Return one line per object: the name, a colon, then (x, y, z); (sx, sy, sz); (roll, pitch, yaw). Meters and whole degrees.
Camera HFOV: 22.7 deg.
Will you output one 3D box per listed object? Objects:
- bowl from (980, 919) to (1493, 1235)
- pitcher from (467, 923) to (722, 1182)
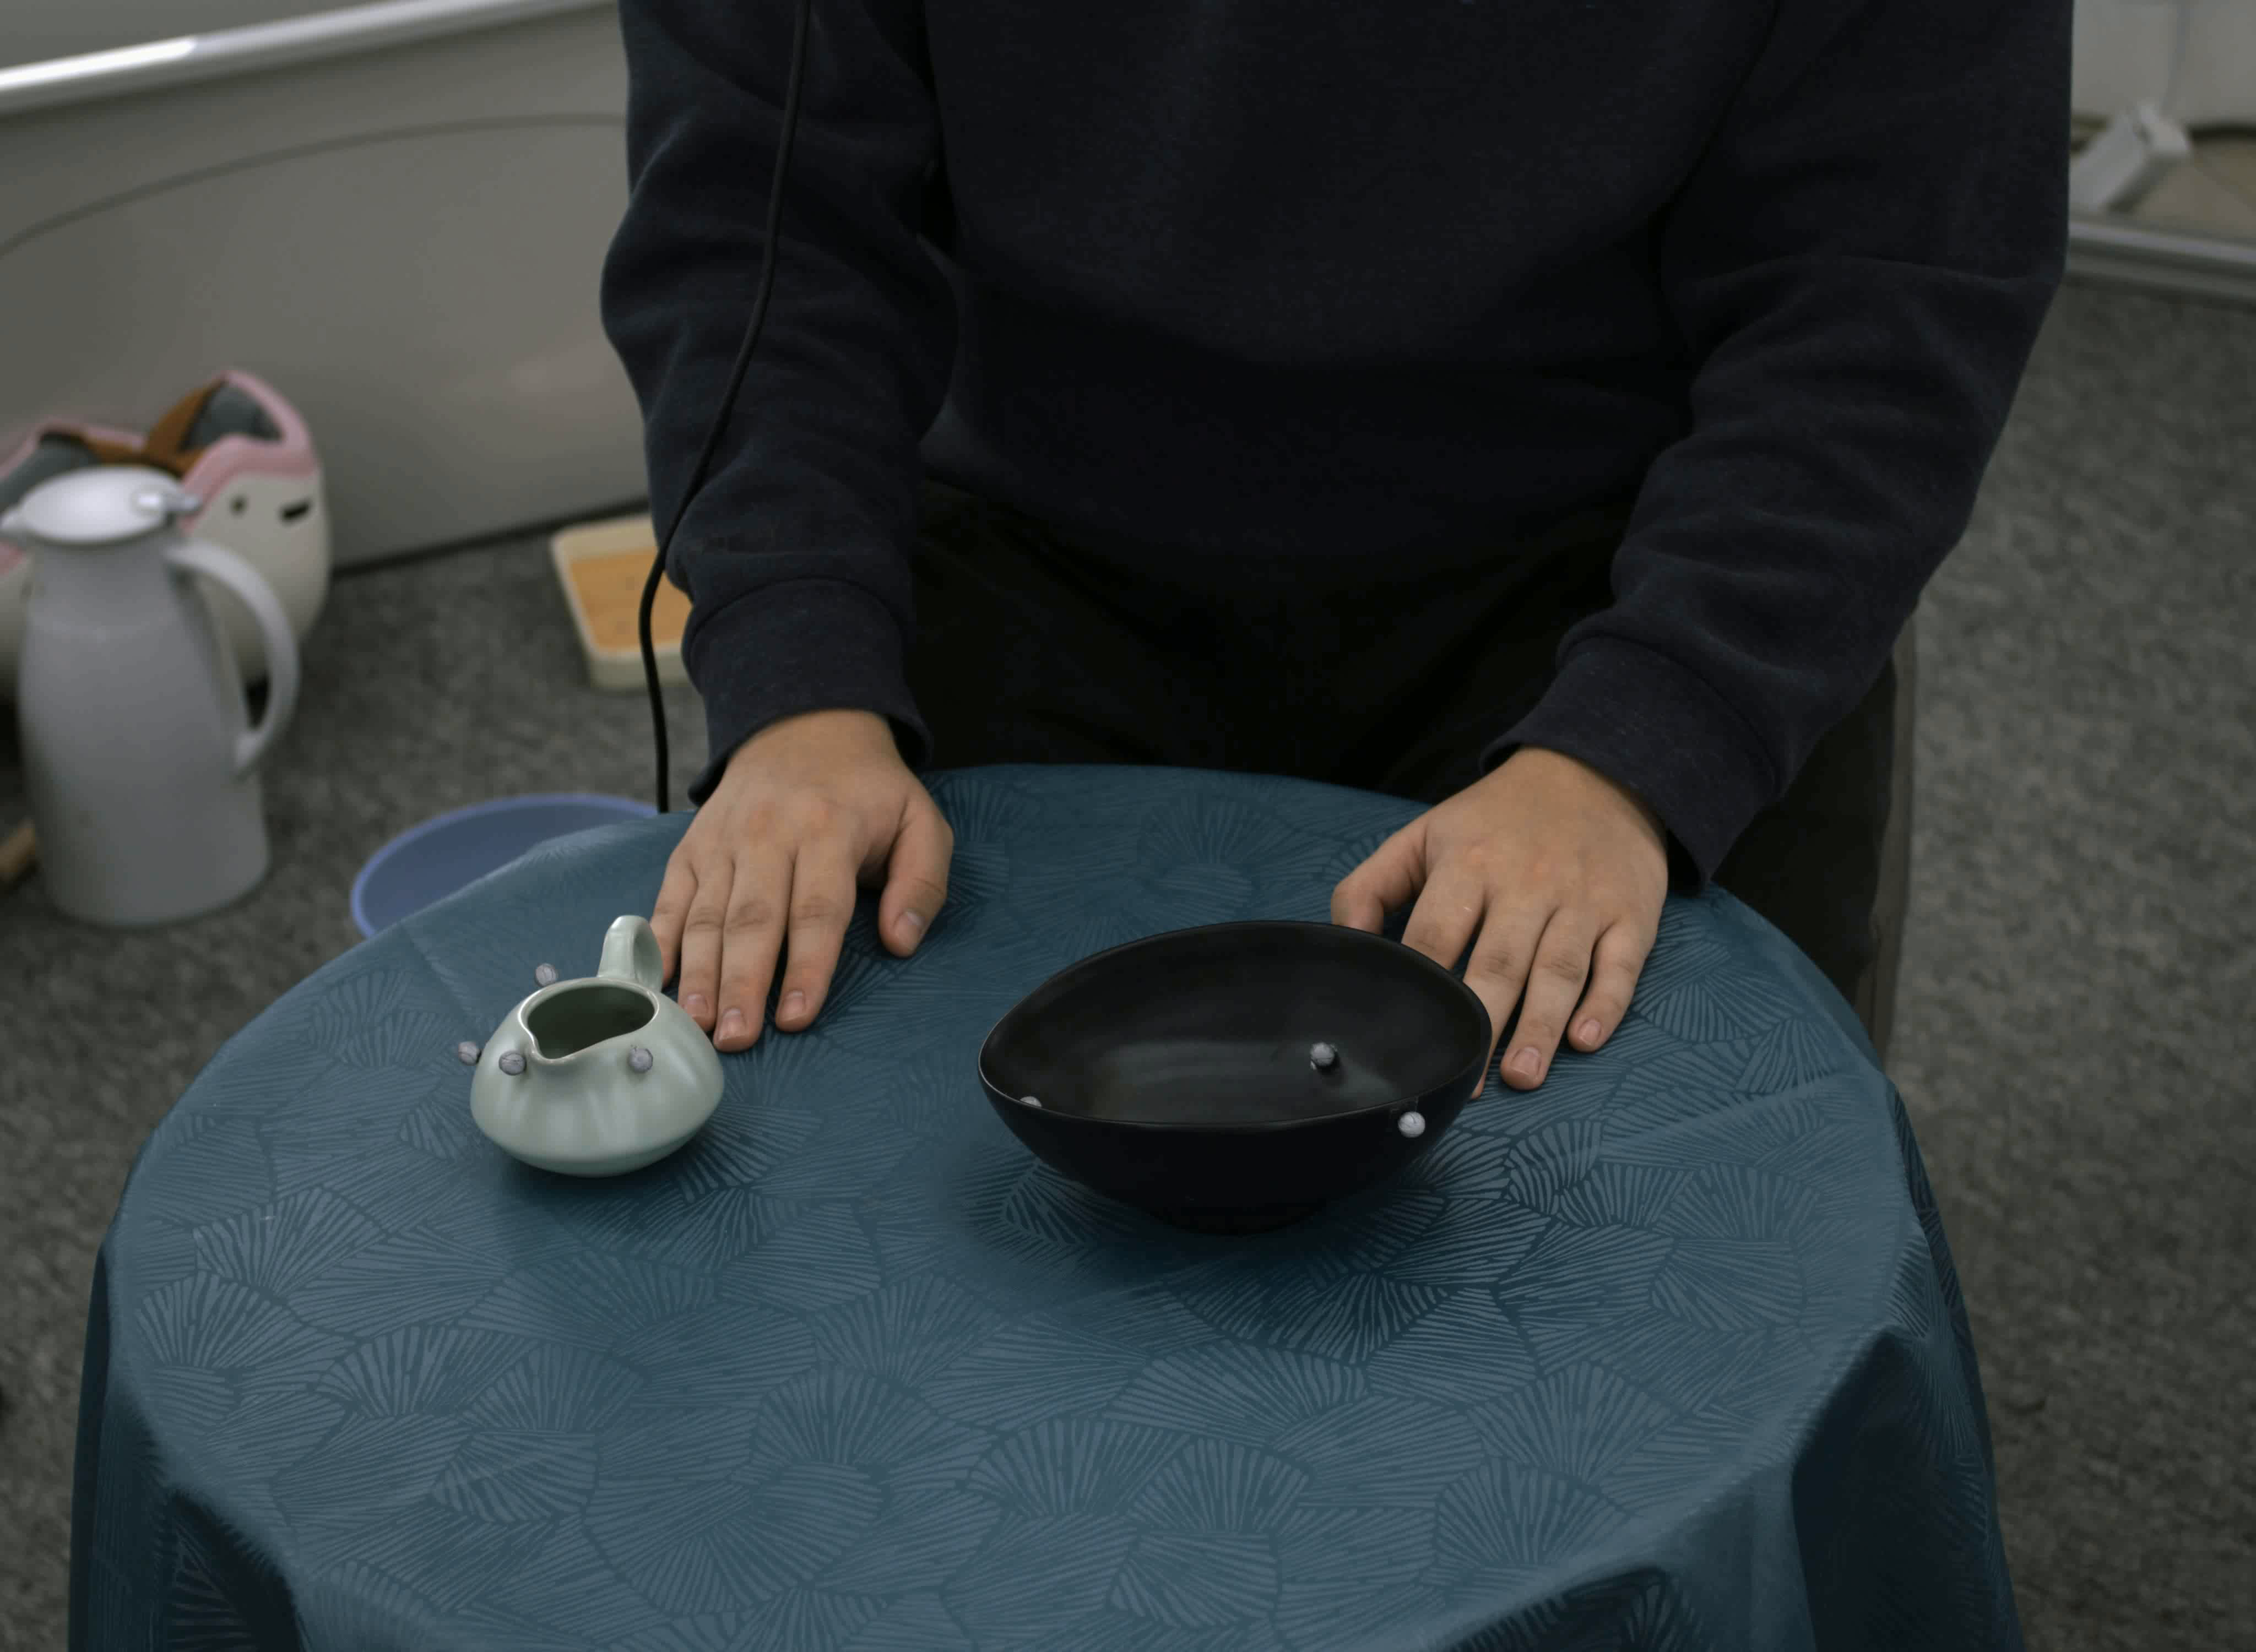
bowl: (0.036, 0.092, 1.852); (0.169, 0.066, 0.139); (-2, 26, 3)
pitcher: (-0.178, 0.078, 1.904); (0.085, 0.060, 0.110); (3, 26, 10)
